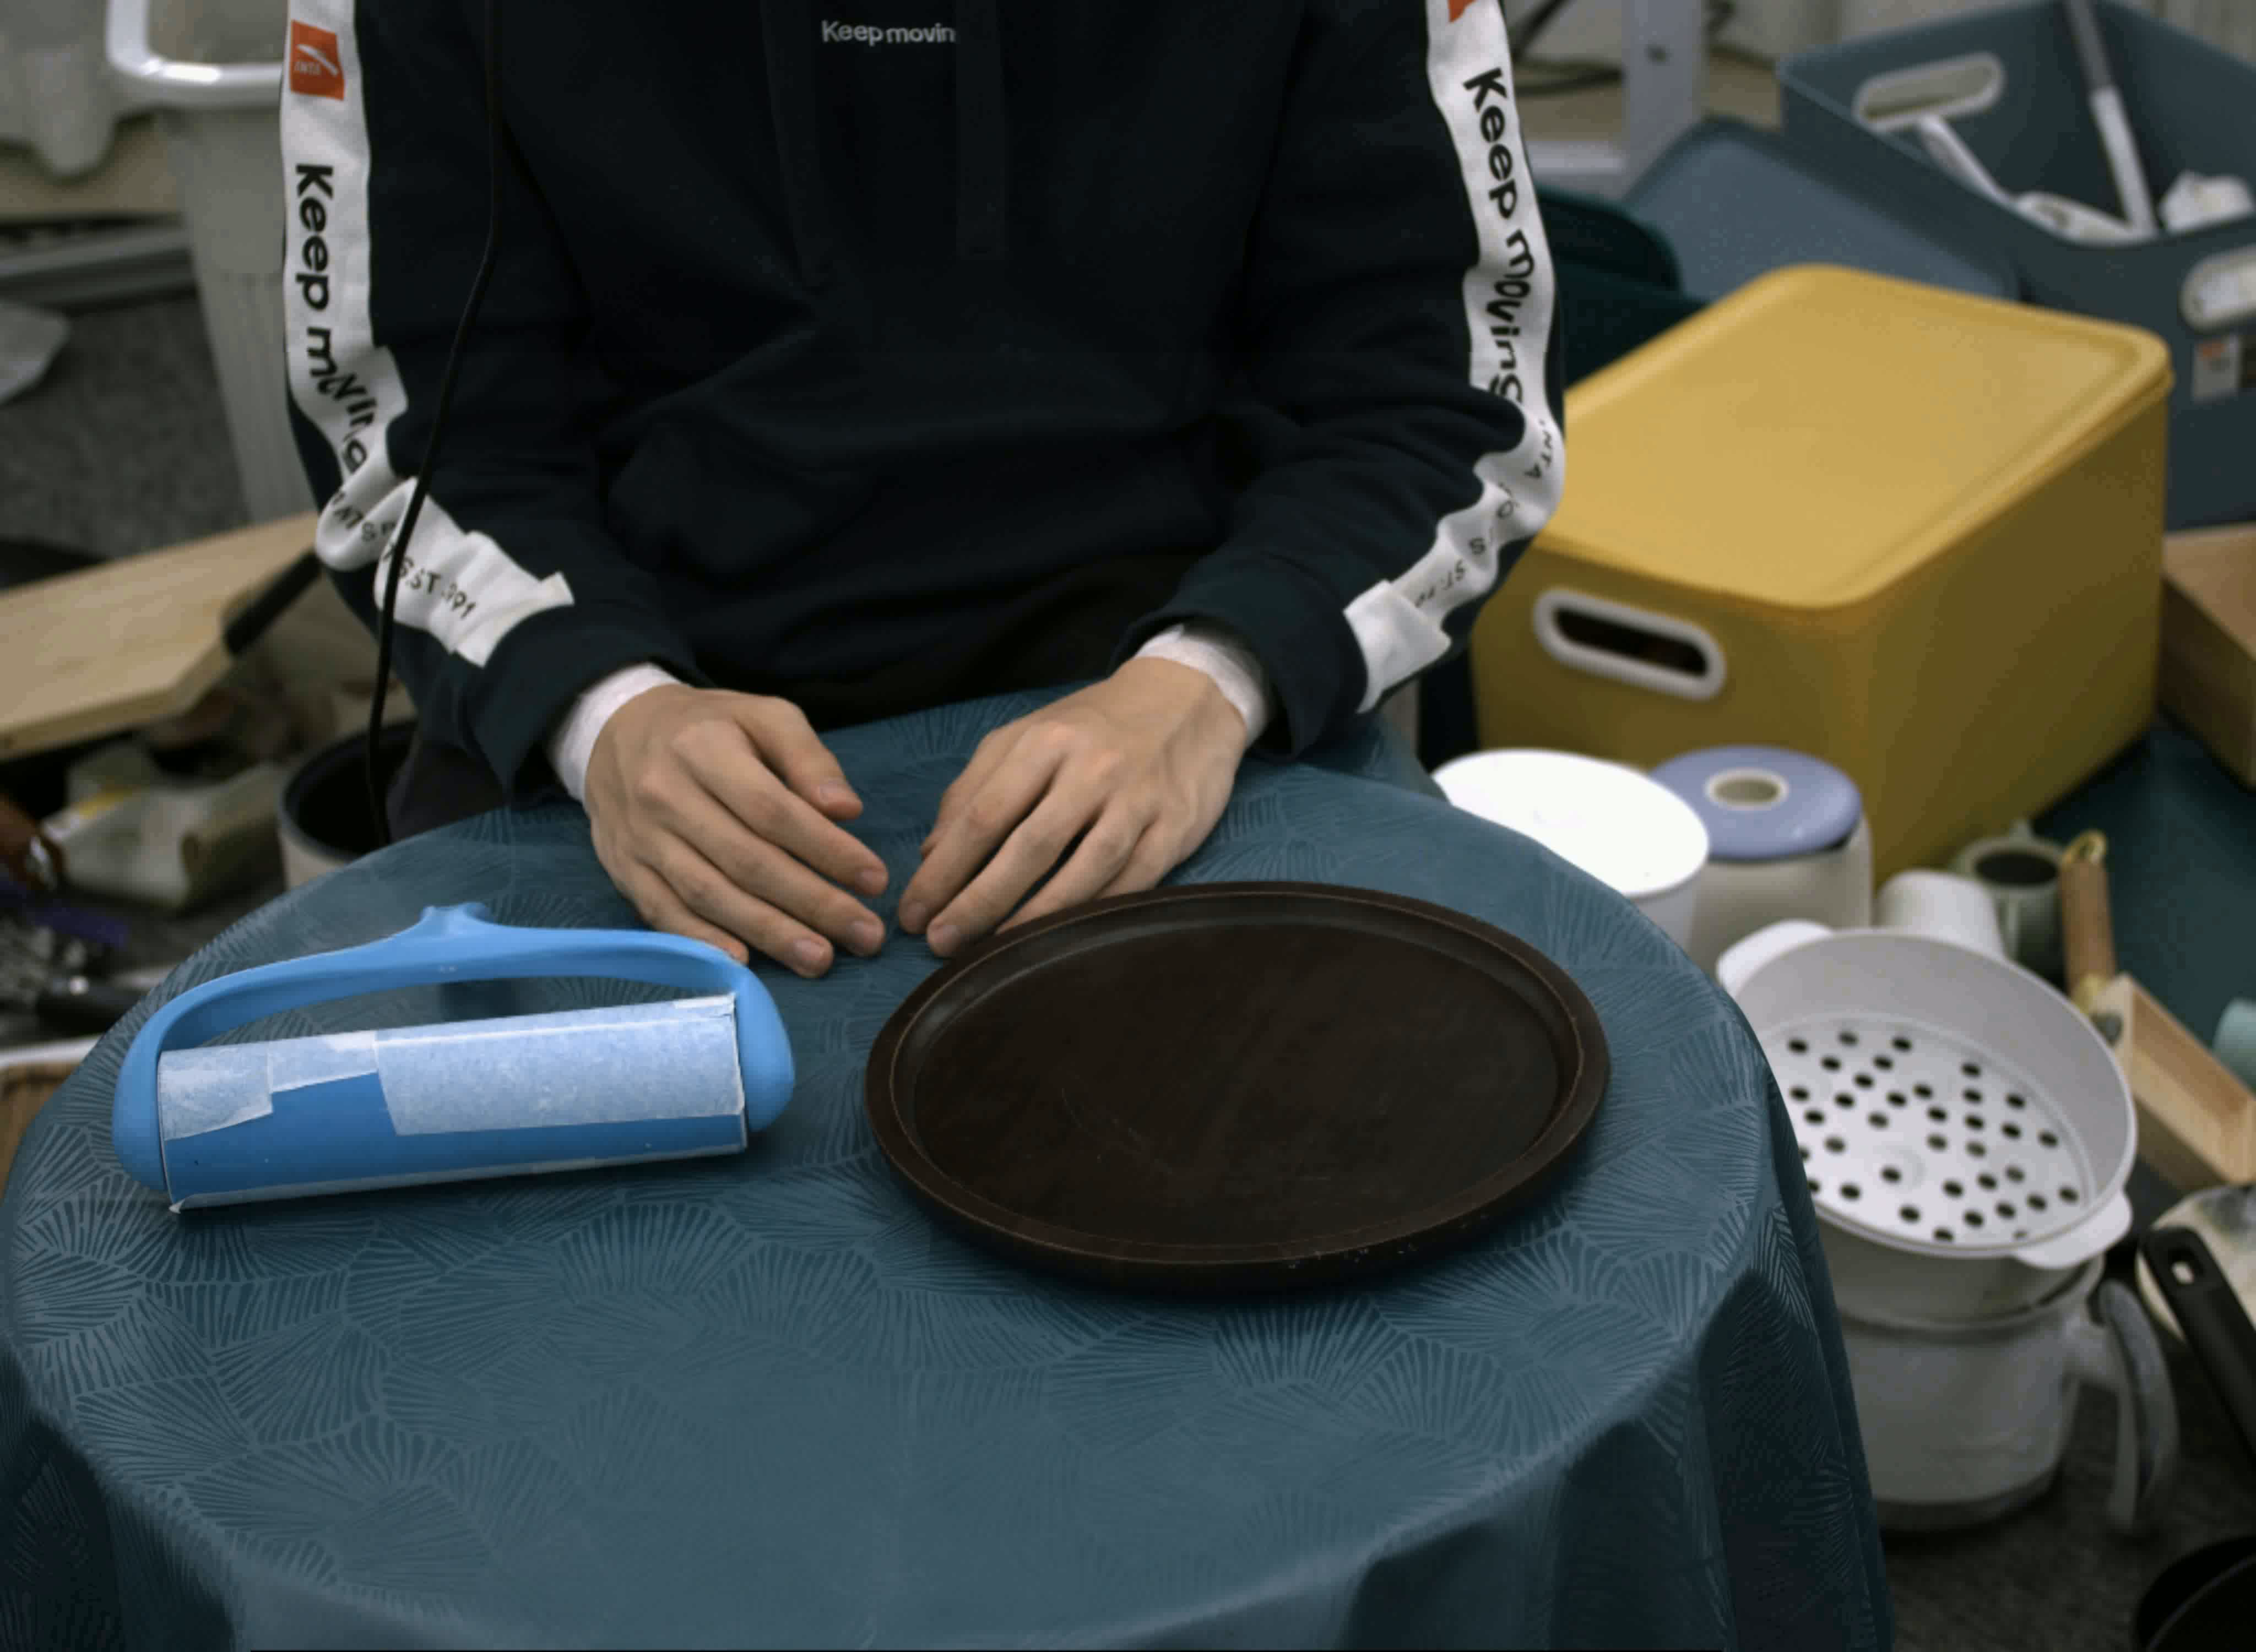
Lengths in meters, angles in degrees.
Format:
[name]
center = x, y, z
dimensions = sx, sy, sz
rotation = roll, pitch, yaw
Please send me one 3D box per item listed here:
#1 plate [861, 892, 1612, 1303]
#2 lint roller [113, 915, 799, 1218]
[plate]
center = 0.036, 0.089, 1.895
dimensions = 0.253, 0.029, 0.259
rotation = -2, 28, 1
[lint roller]
center = -0.233, 0.066, 1.930
dimensions = 0.228, 0.067, 0.182
rotation = -8, 28, -7
